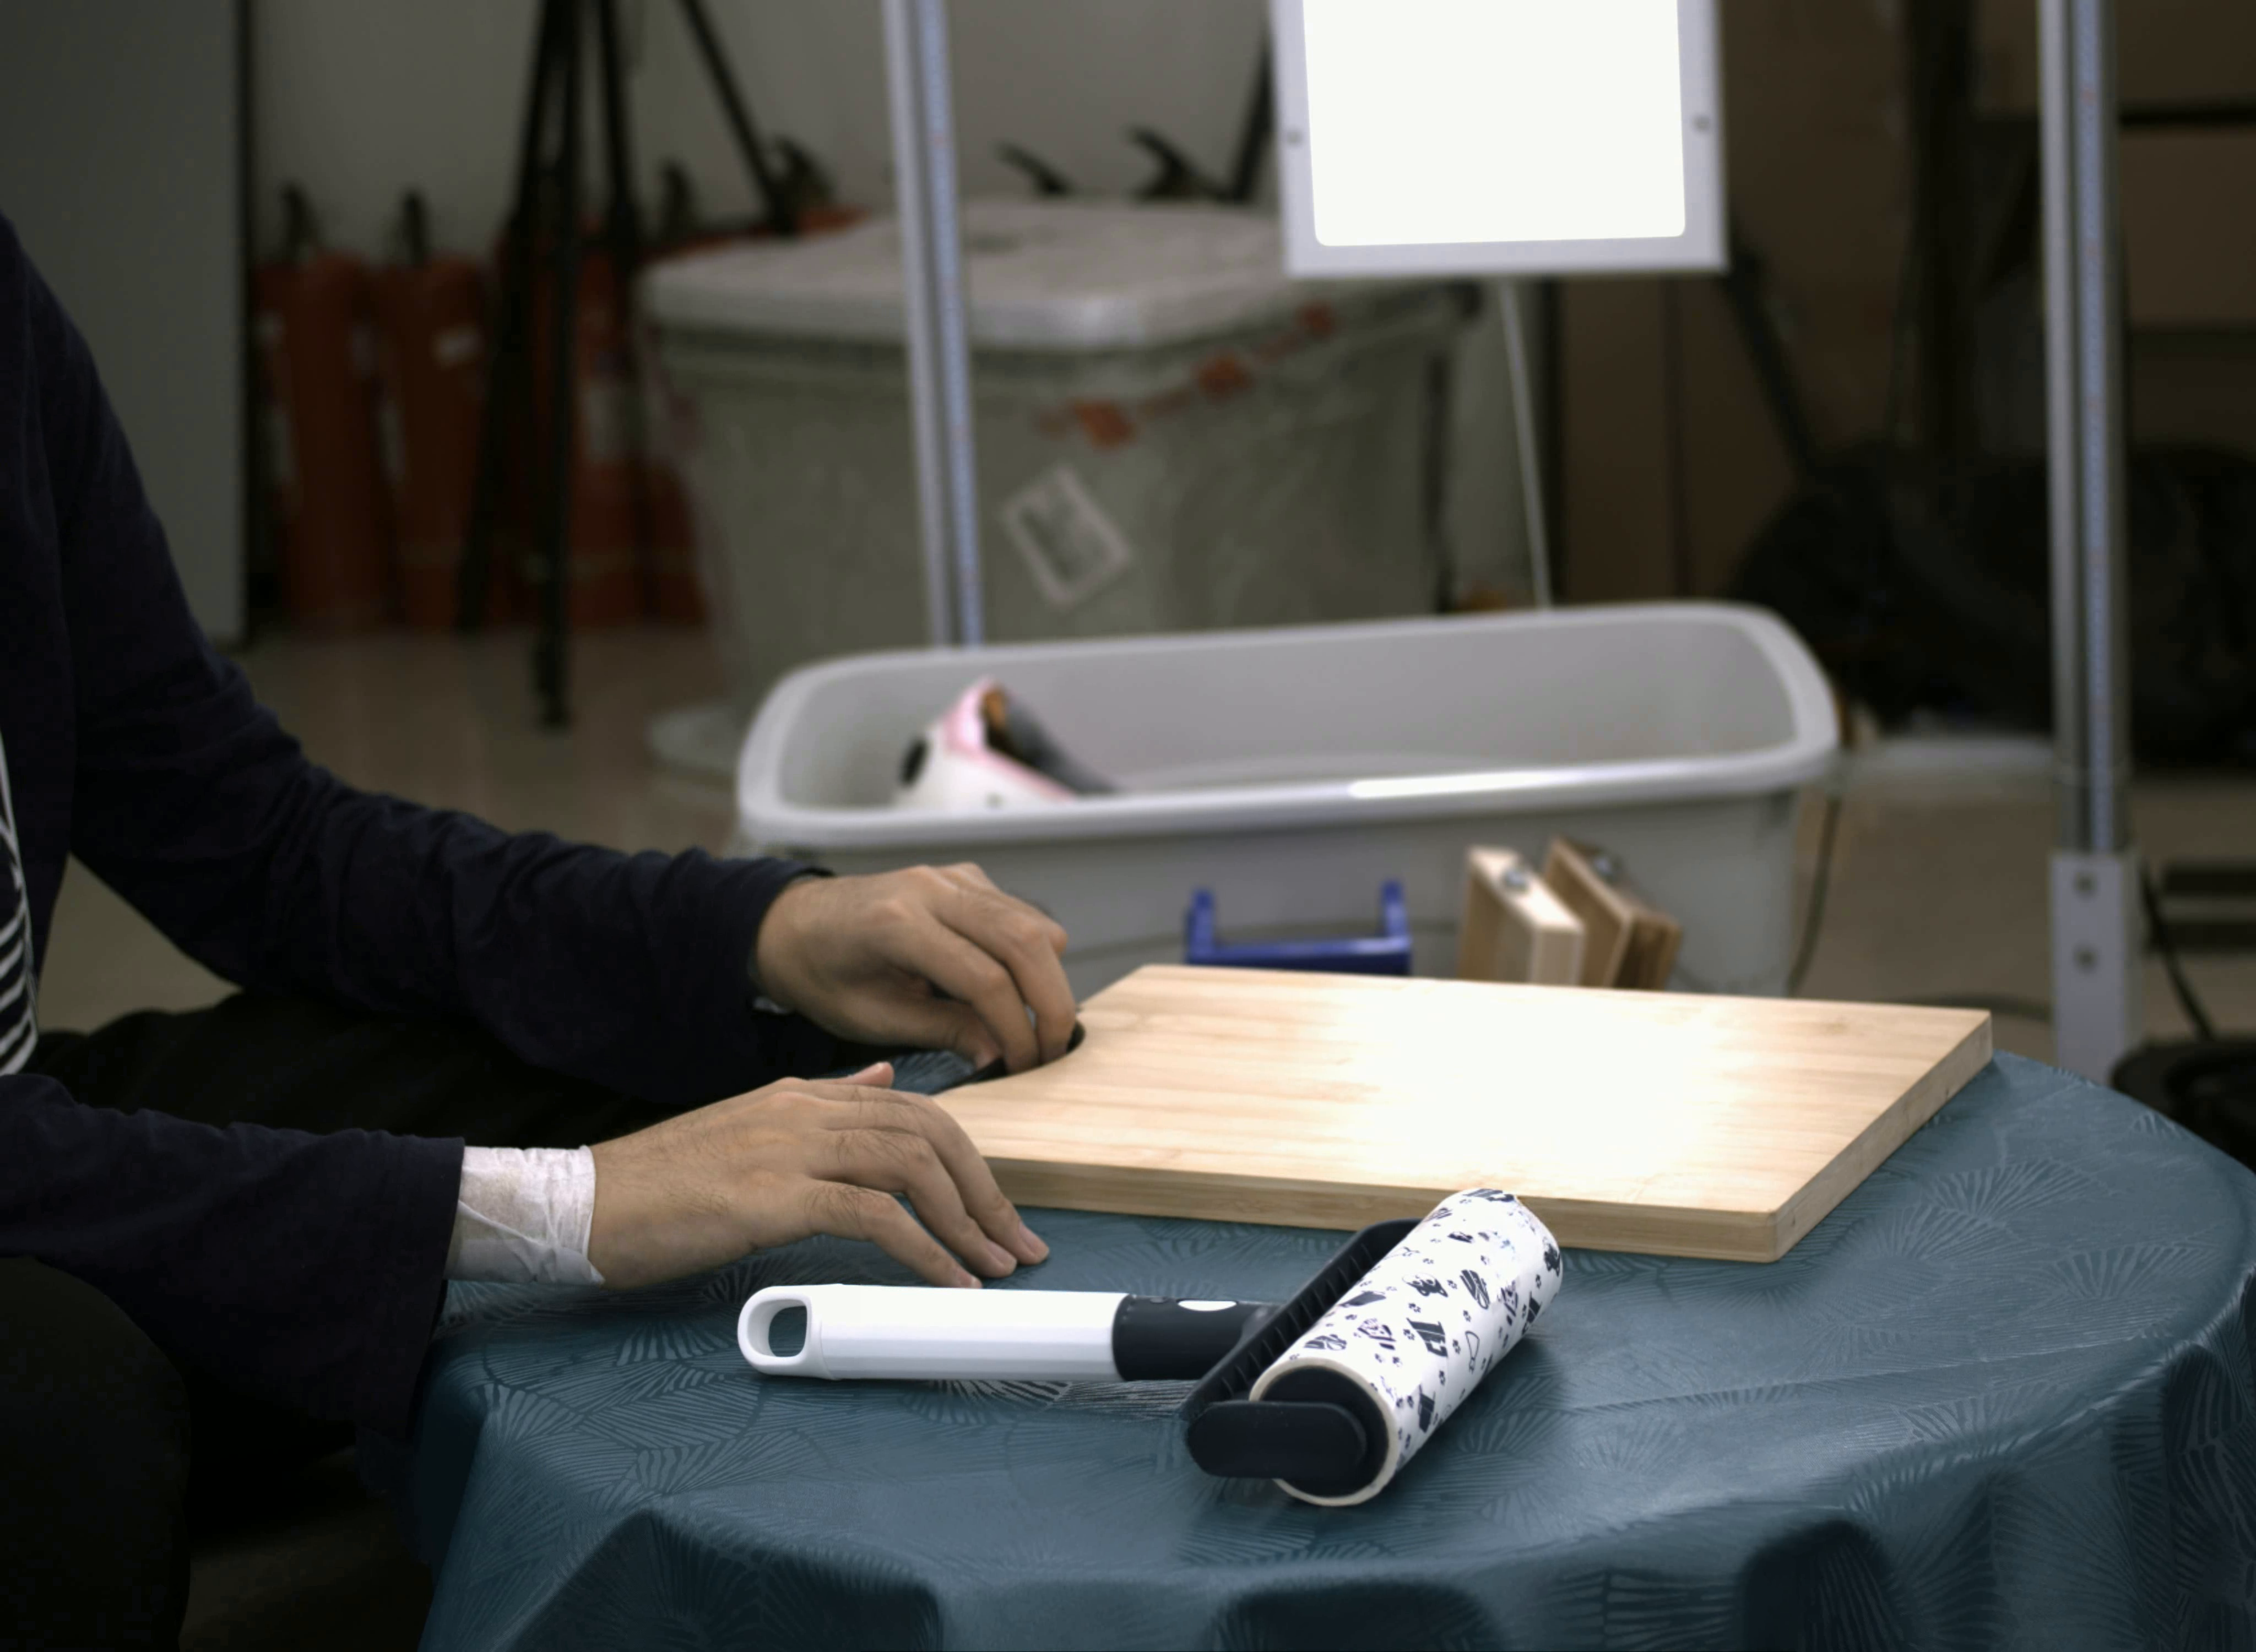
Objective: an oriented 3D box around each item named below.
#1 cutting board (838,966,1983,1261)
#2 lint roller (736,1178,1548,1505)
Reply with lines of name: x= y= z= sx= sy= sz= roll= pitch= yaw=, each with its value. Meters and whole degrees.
cutting board: x=0.104 y=0.098 z=1.948 sx=0.355 sy=0.023 sz=0.245 roll=2 pitch=15 yaw=27
lint roller: x=-0.010 y=0.157 z=1.696 sx=0.251 sy=0.050 sz=0.173 roll=-2 pitch=15 yaw=24
